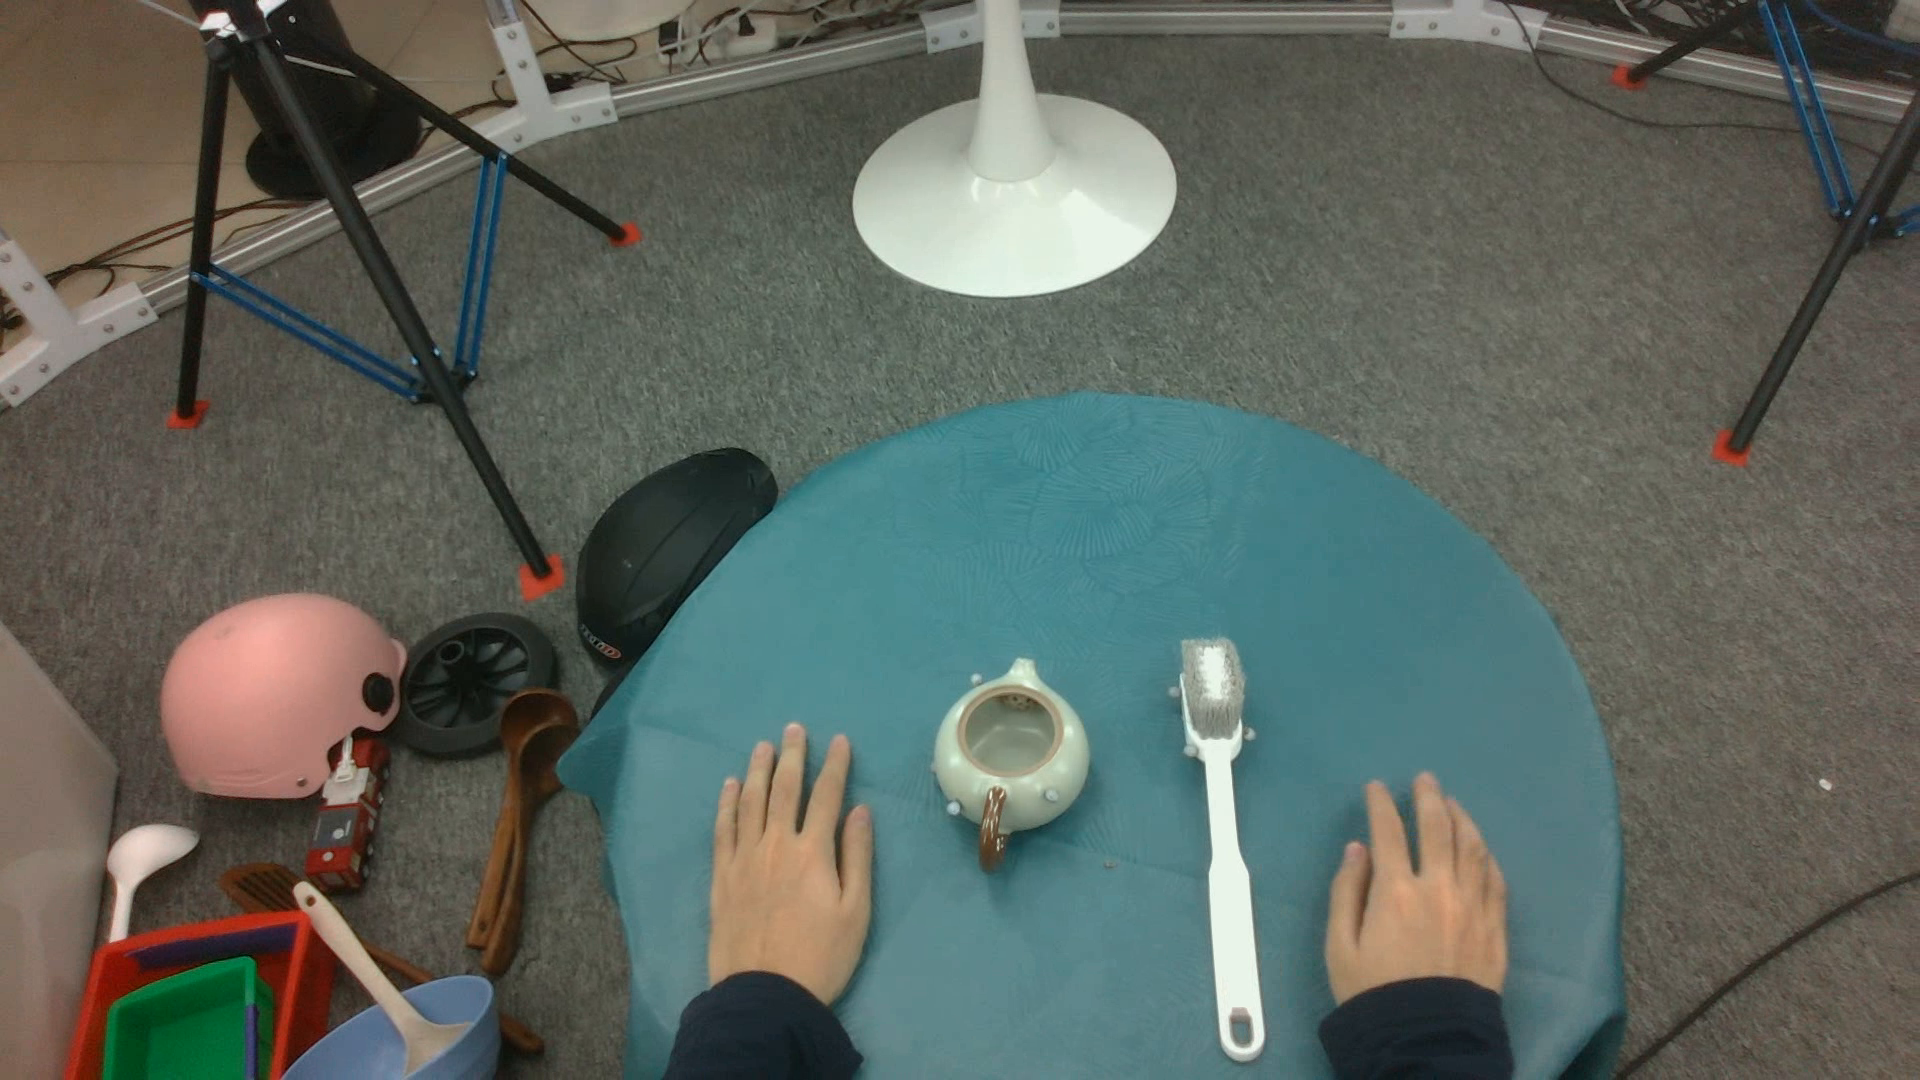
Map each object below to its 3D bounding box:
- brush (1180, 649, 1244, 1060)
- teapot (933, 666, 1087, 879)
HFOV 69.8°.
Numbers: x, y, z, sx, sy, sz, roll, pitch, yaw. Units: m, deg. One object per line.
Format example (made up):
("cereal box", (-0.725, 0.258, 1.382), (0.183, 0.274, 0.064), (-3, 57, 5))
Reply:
("brush", (0.147, 0.167, 0.787), (0.034, 0.050, 0.245), (3, 51, 3))
("teapot", (0.028, 0.139, 0.816), (0.092, 0.059, 0.128), (7, 50, 7))
